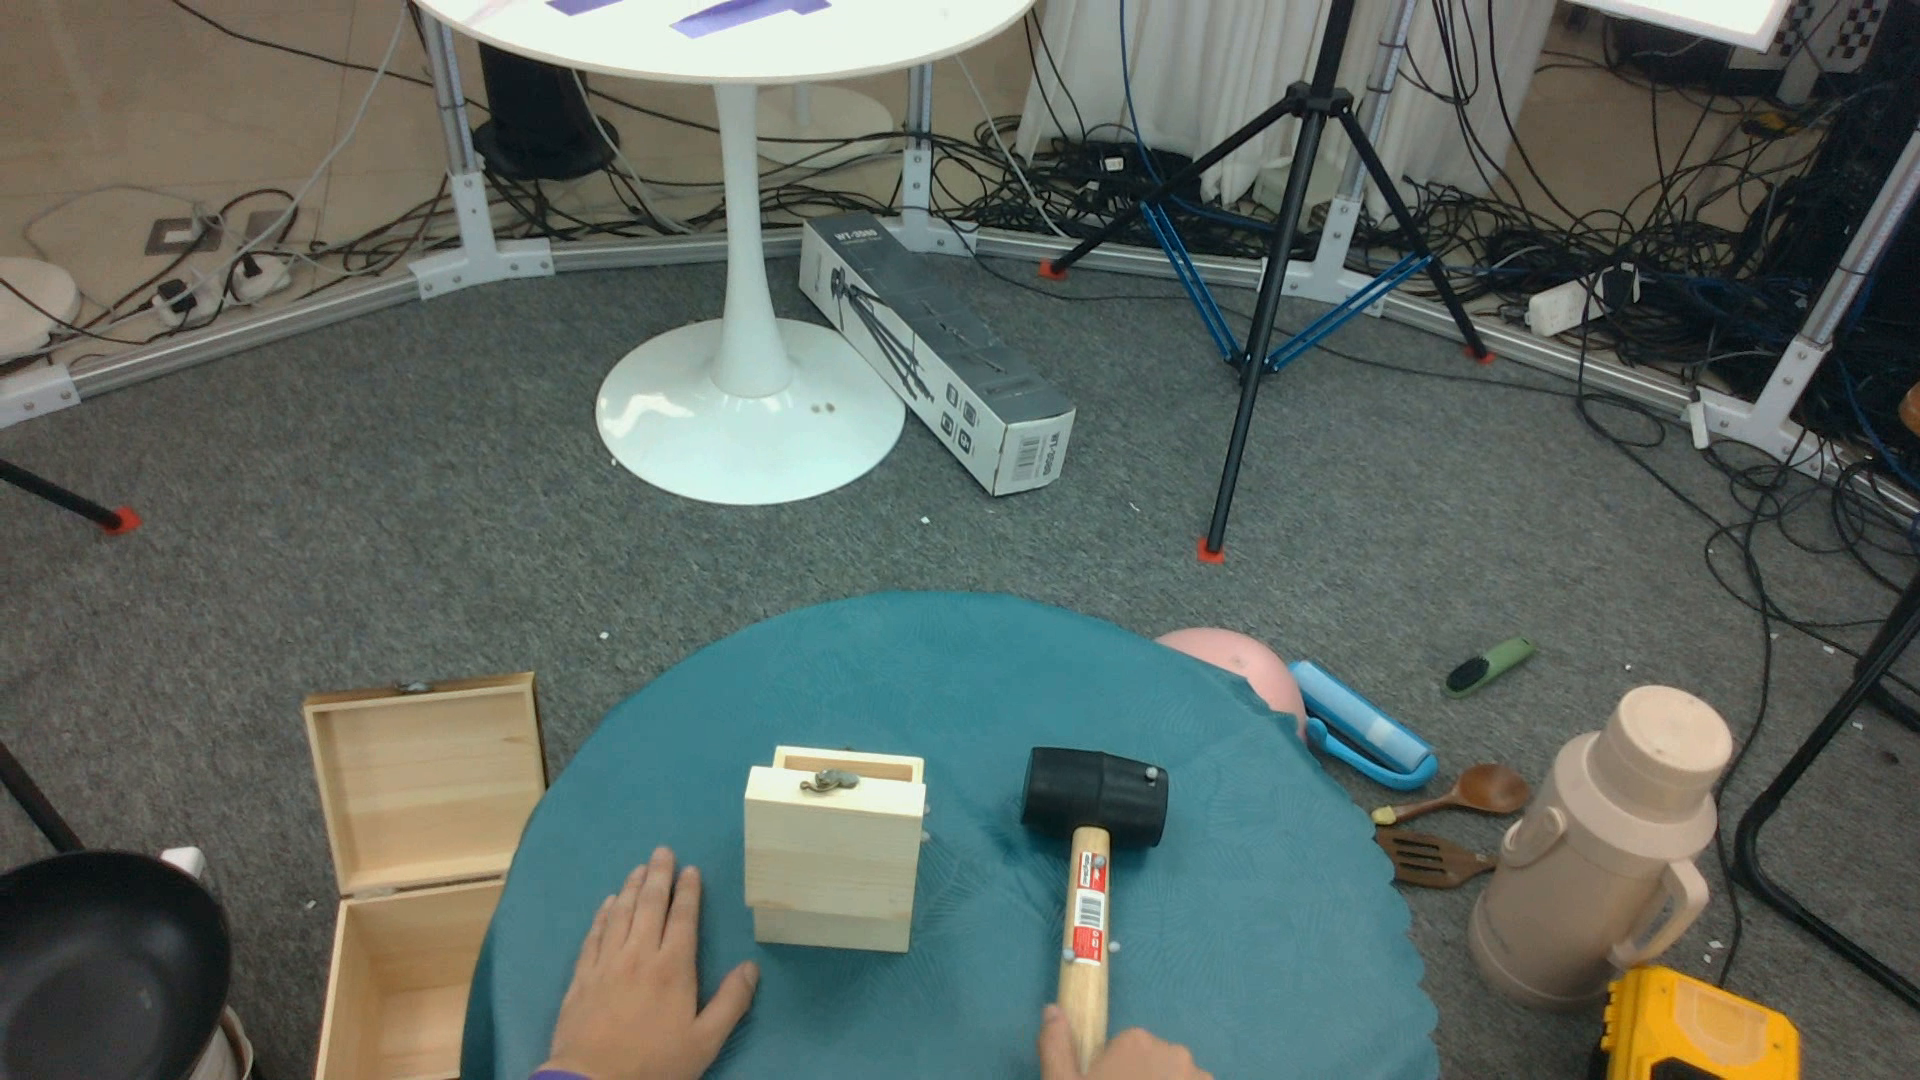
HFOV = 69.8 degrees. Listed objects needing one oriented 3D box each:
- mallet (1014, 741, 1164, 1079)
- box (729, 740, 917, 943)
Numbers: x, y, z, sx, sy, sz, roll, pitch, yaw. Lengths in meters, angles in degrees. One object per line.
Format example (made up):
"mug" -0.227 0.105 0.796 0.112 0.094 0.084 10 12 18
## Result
"mallet" 0.074 0.269 0.870 0.102 0.064 0.340 7 43 3
"box" -0.080 0.170 0.871 0.102 0.183 0.134 4 45 -1
